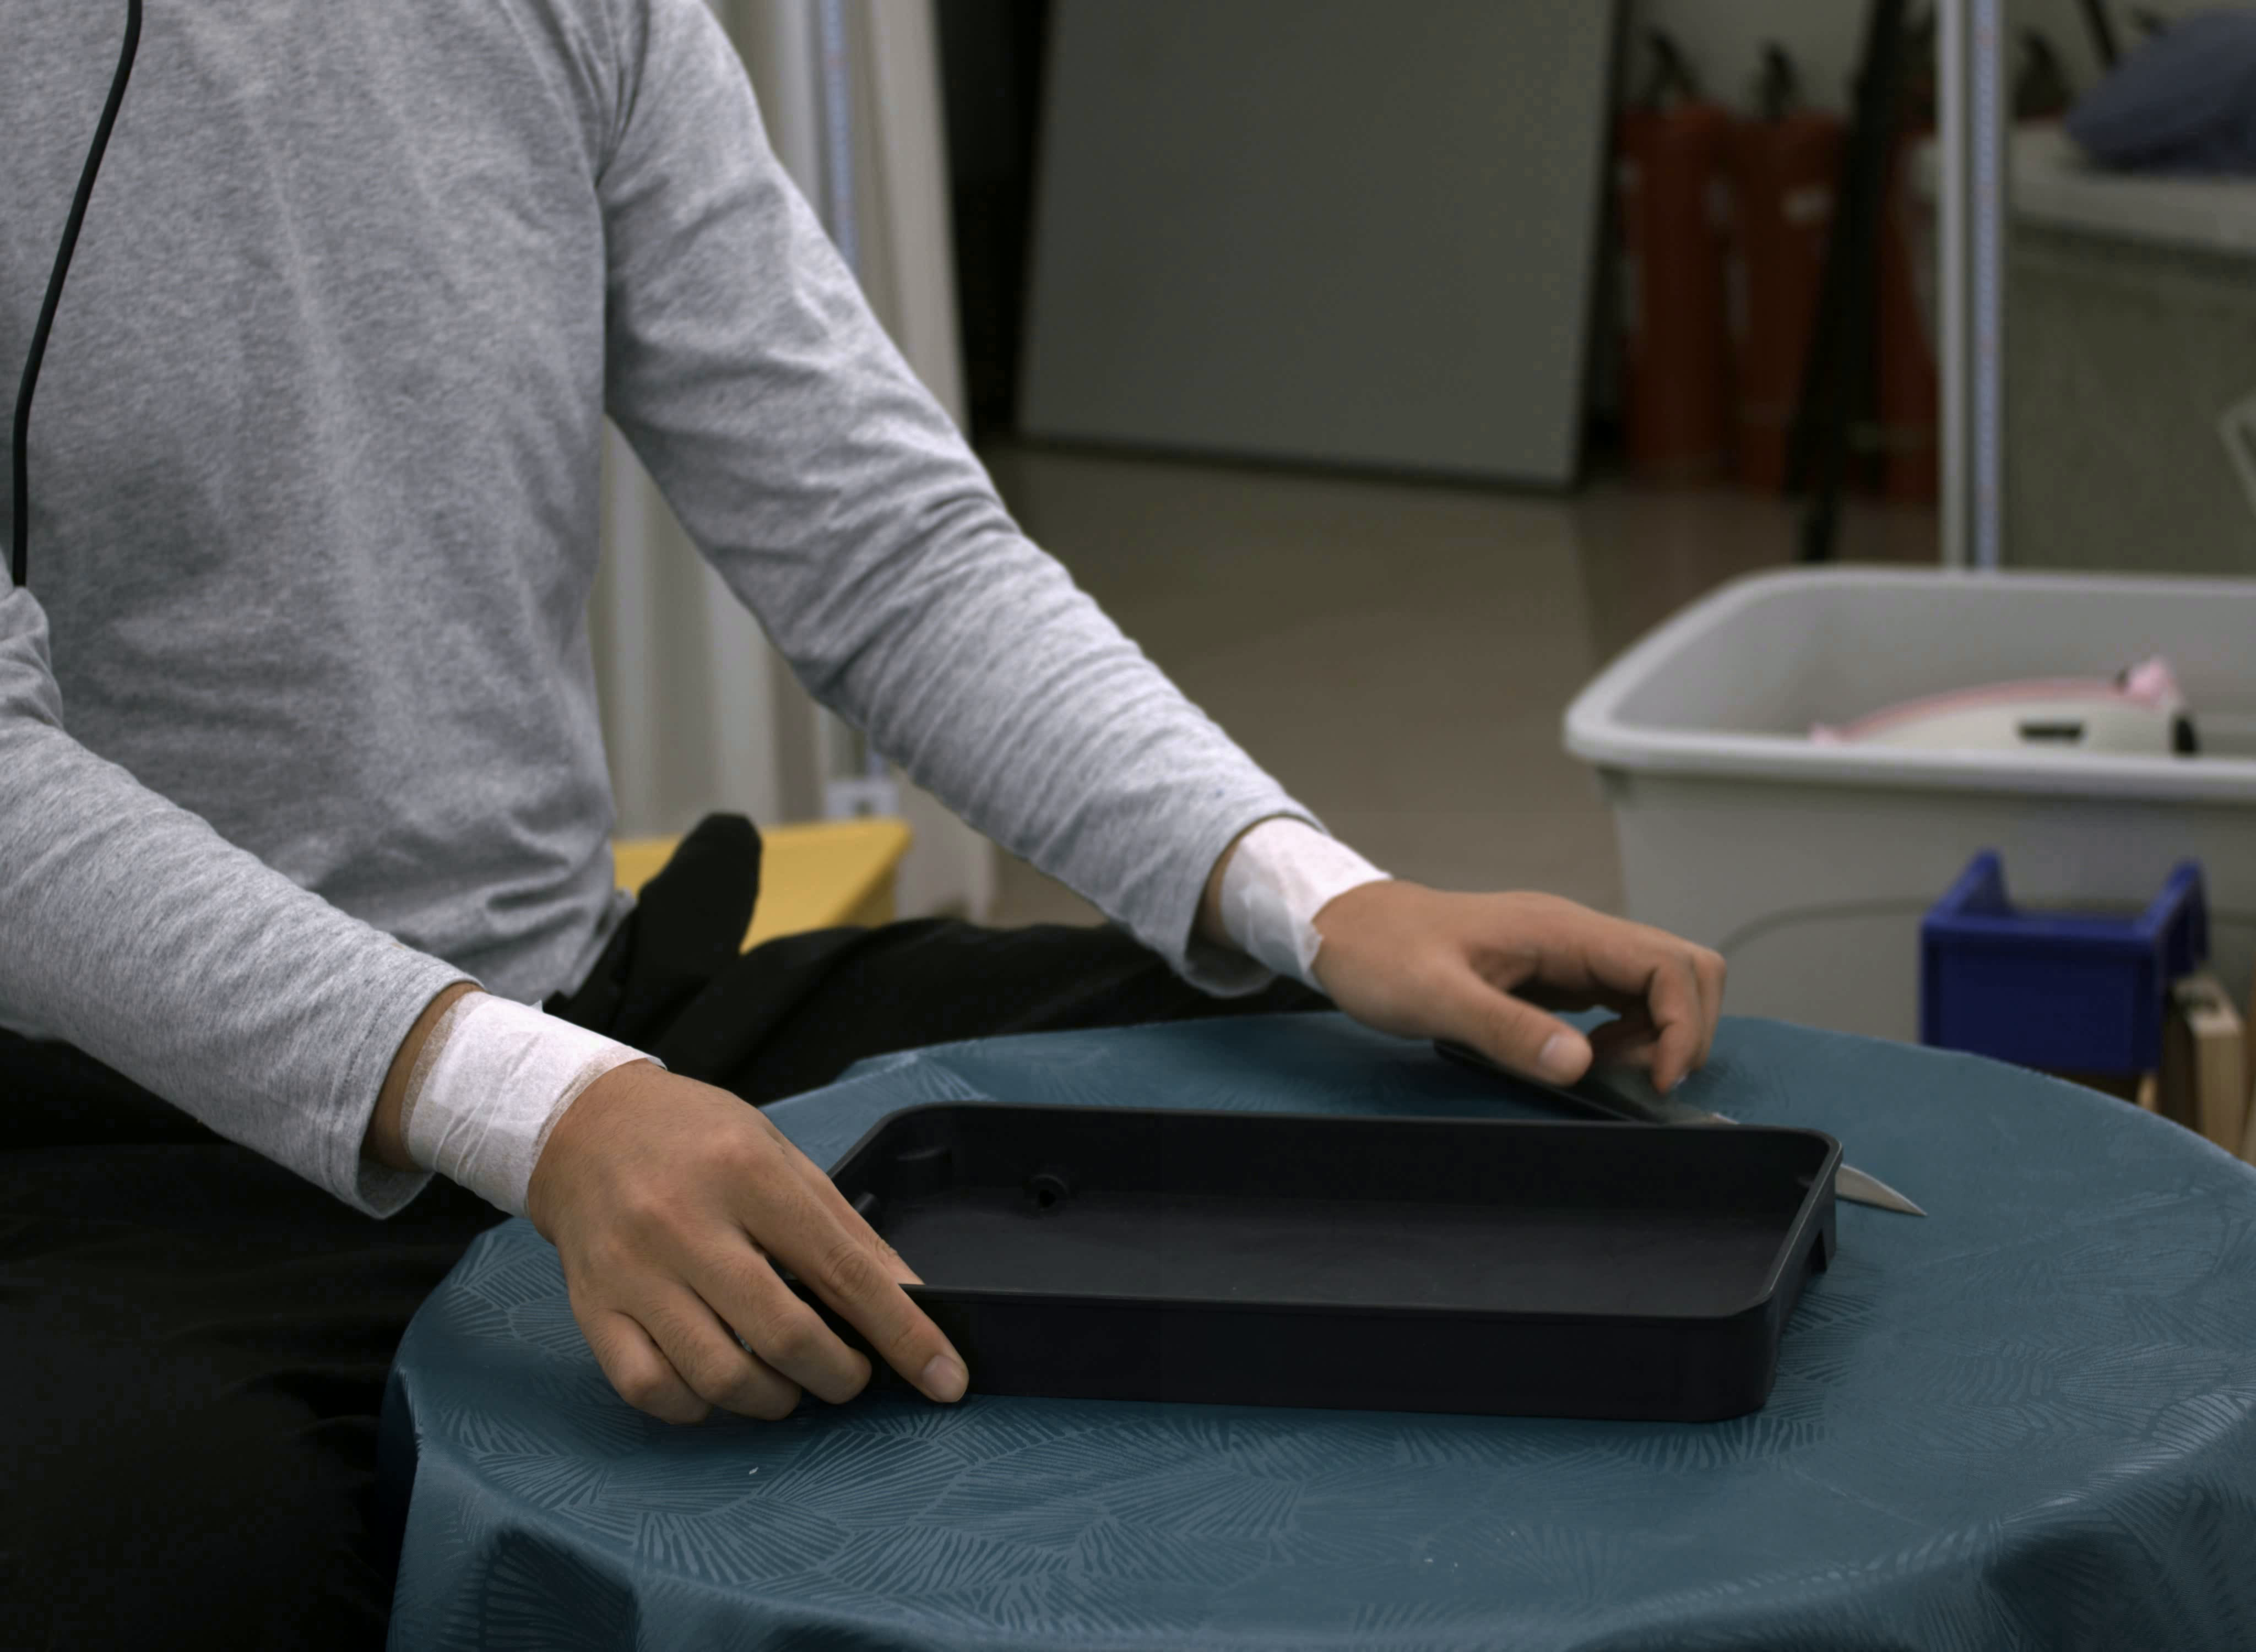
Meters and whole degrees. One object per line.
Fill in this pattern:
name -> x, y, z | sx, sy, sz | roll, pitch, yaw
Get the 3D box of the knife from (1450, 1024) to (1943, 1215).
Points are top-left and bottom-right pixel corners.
knife -> 0.184, 0.099, 1.787 | 0.024, 0.016, 0.241 | -18, 21, -32

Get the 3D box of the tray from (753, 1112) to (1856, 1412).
tray -> 0.058, 0.130, 1.644 | 0.317, 0.037, 0.183 | -1, 13, 16
